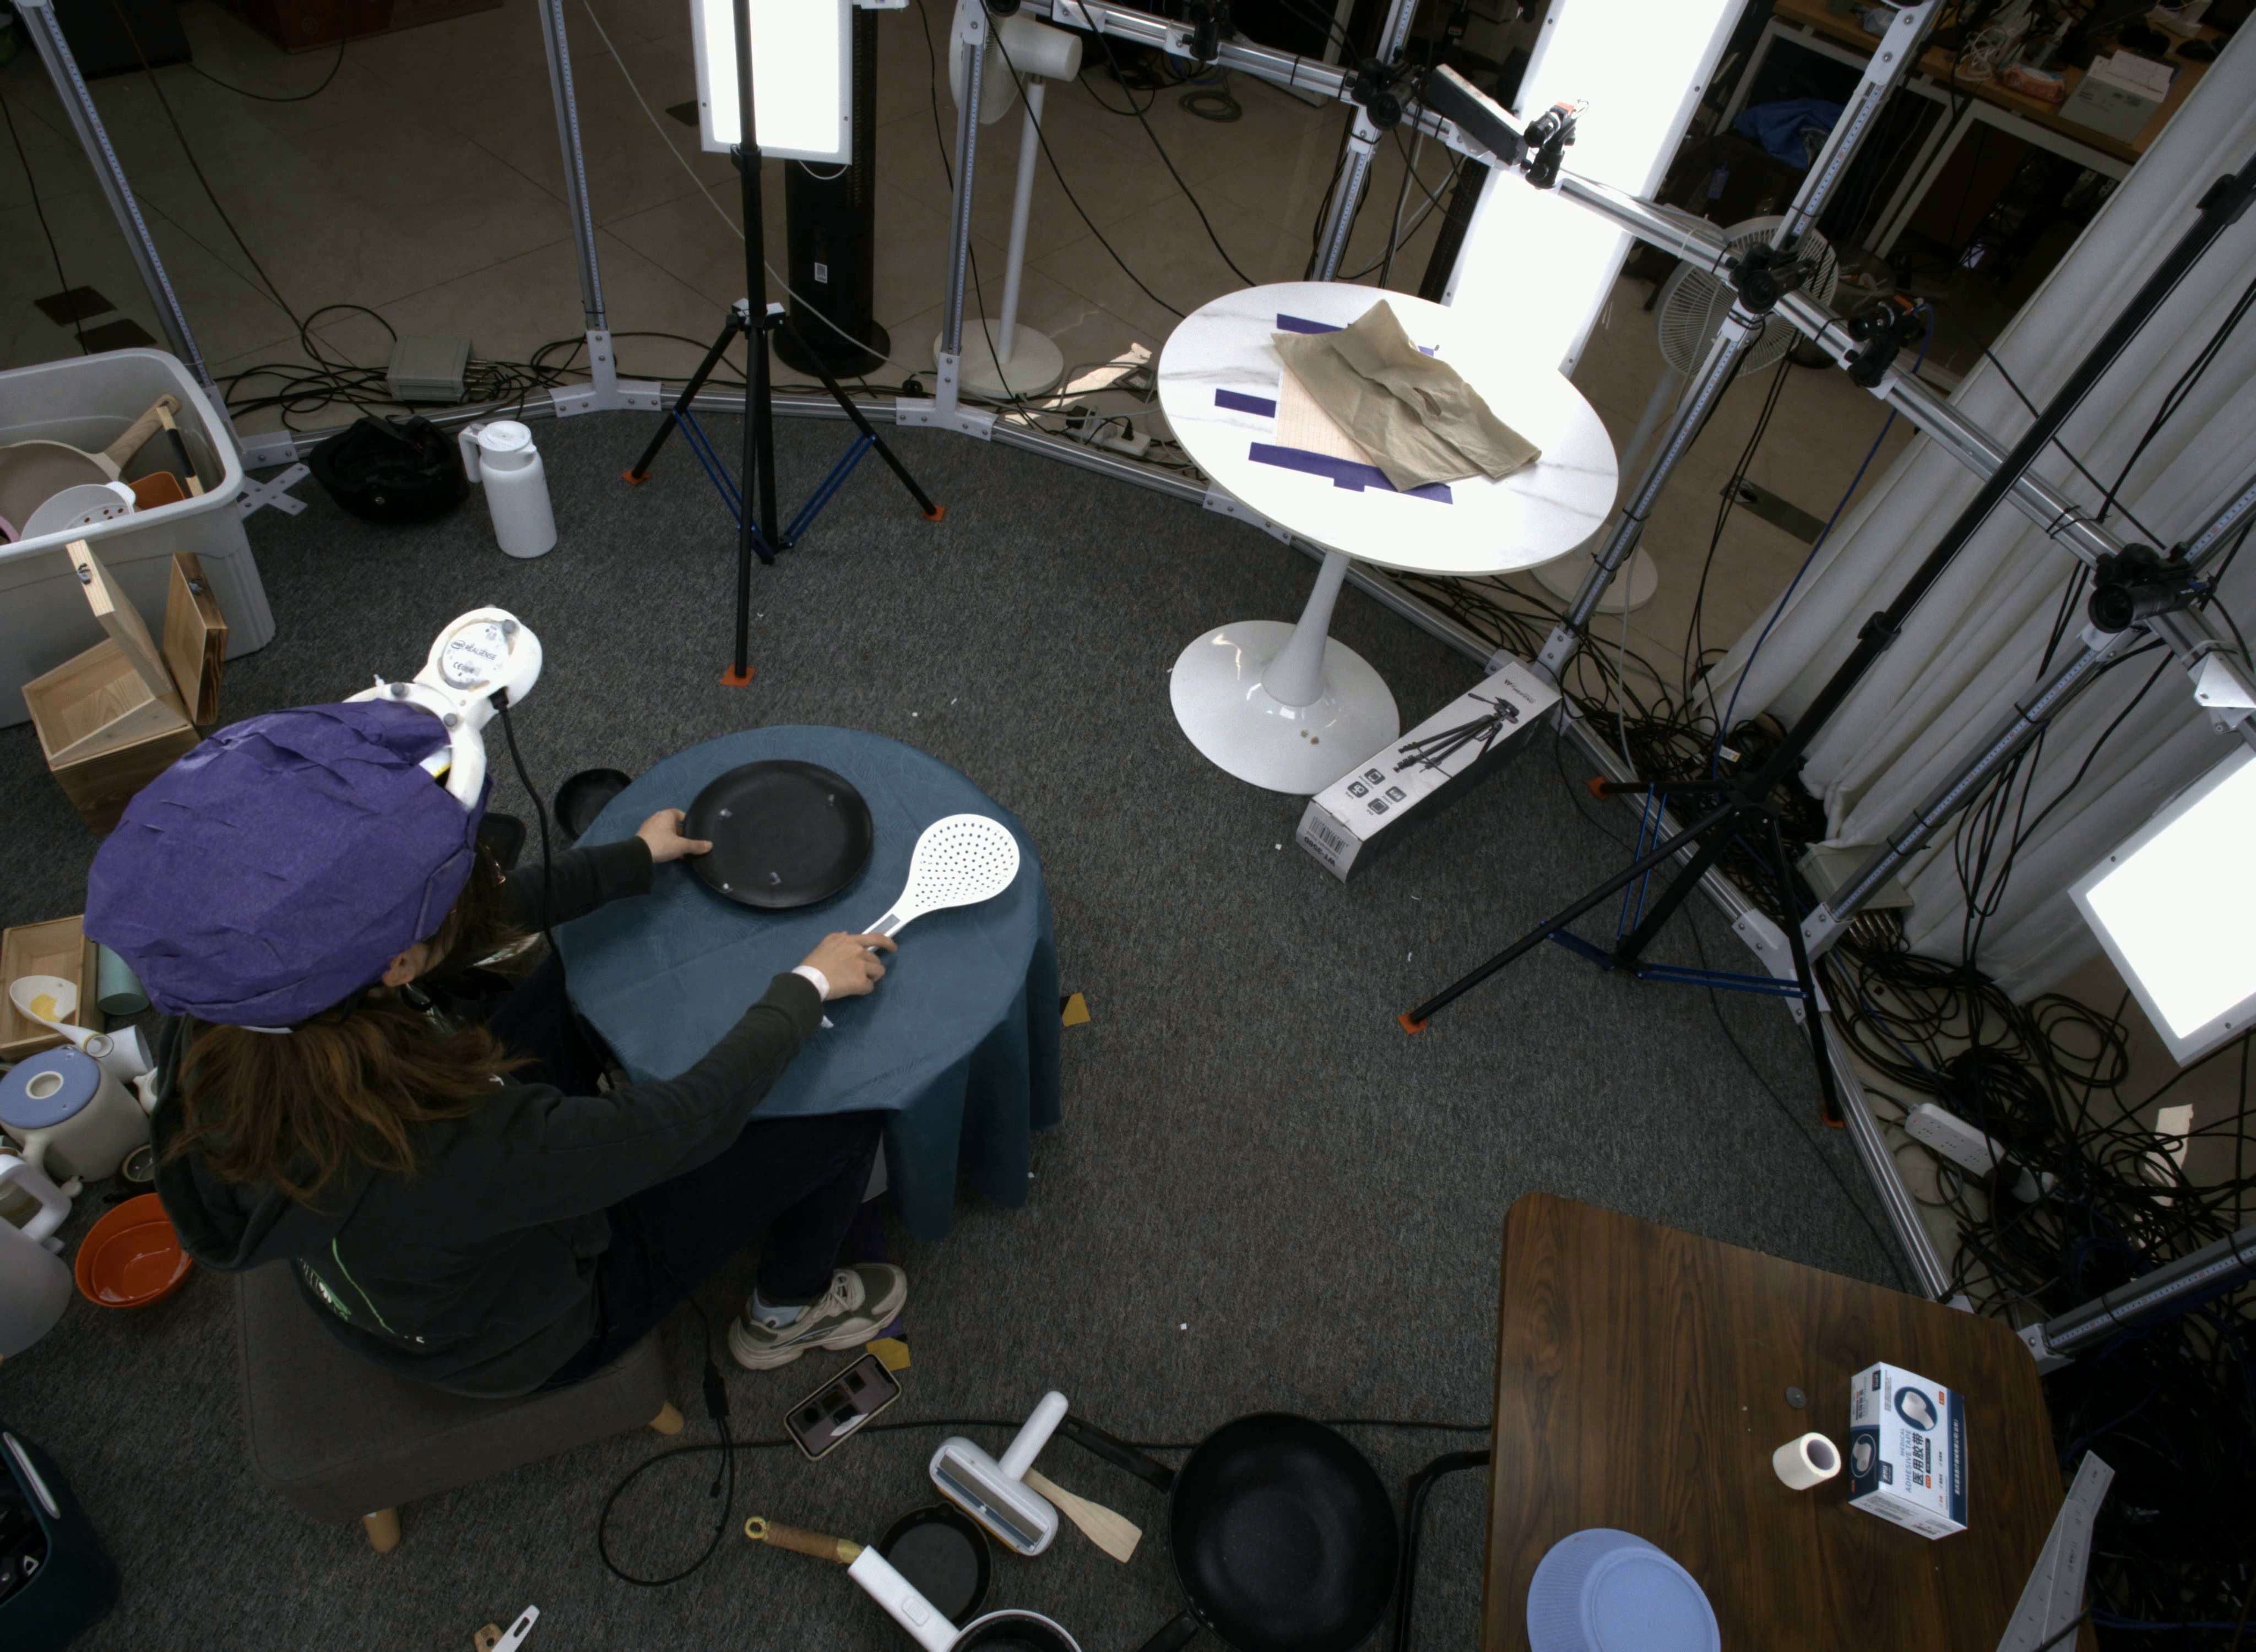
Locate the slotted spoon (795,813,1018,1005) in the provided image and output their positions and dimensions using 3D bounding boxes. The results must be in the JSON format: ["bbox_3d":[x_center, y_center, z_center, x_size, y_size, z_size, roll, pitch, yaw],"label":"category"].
[{"bbox_3d":[-0.282,0.106,1.658,0.133,0.047,0.350,39,55,17],"label":"slotted spoon"}]

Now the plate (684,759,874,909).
[{"bbox_3d":[-0.457,0.011,1.697,0.244,0.024,0.240,8,52,-9],"label":"plate"}]
